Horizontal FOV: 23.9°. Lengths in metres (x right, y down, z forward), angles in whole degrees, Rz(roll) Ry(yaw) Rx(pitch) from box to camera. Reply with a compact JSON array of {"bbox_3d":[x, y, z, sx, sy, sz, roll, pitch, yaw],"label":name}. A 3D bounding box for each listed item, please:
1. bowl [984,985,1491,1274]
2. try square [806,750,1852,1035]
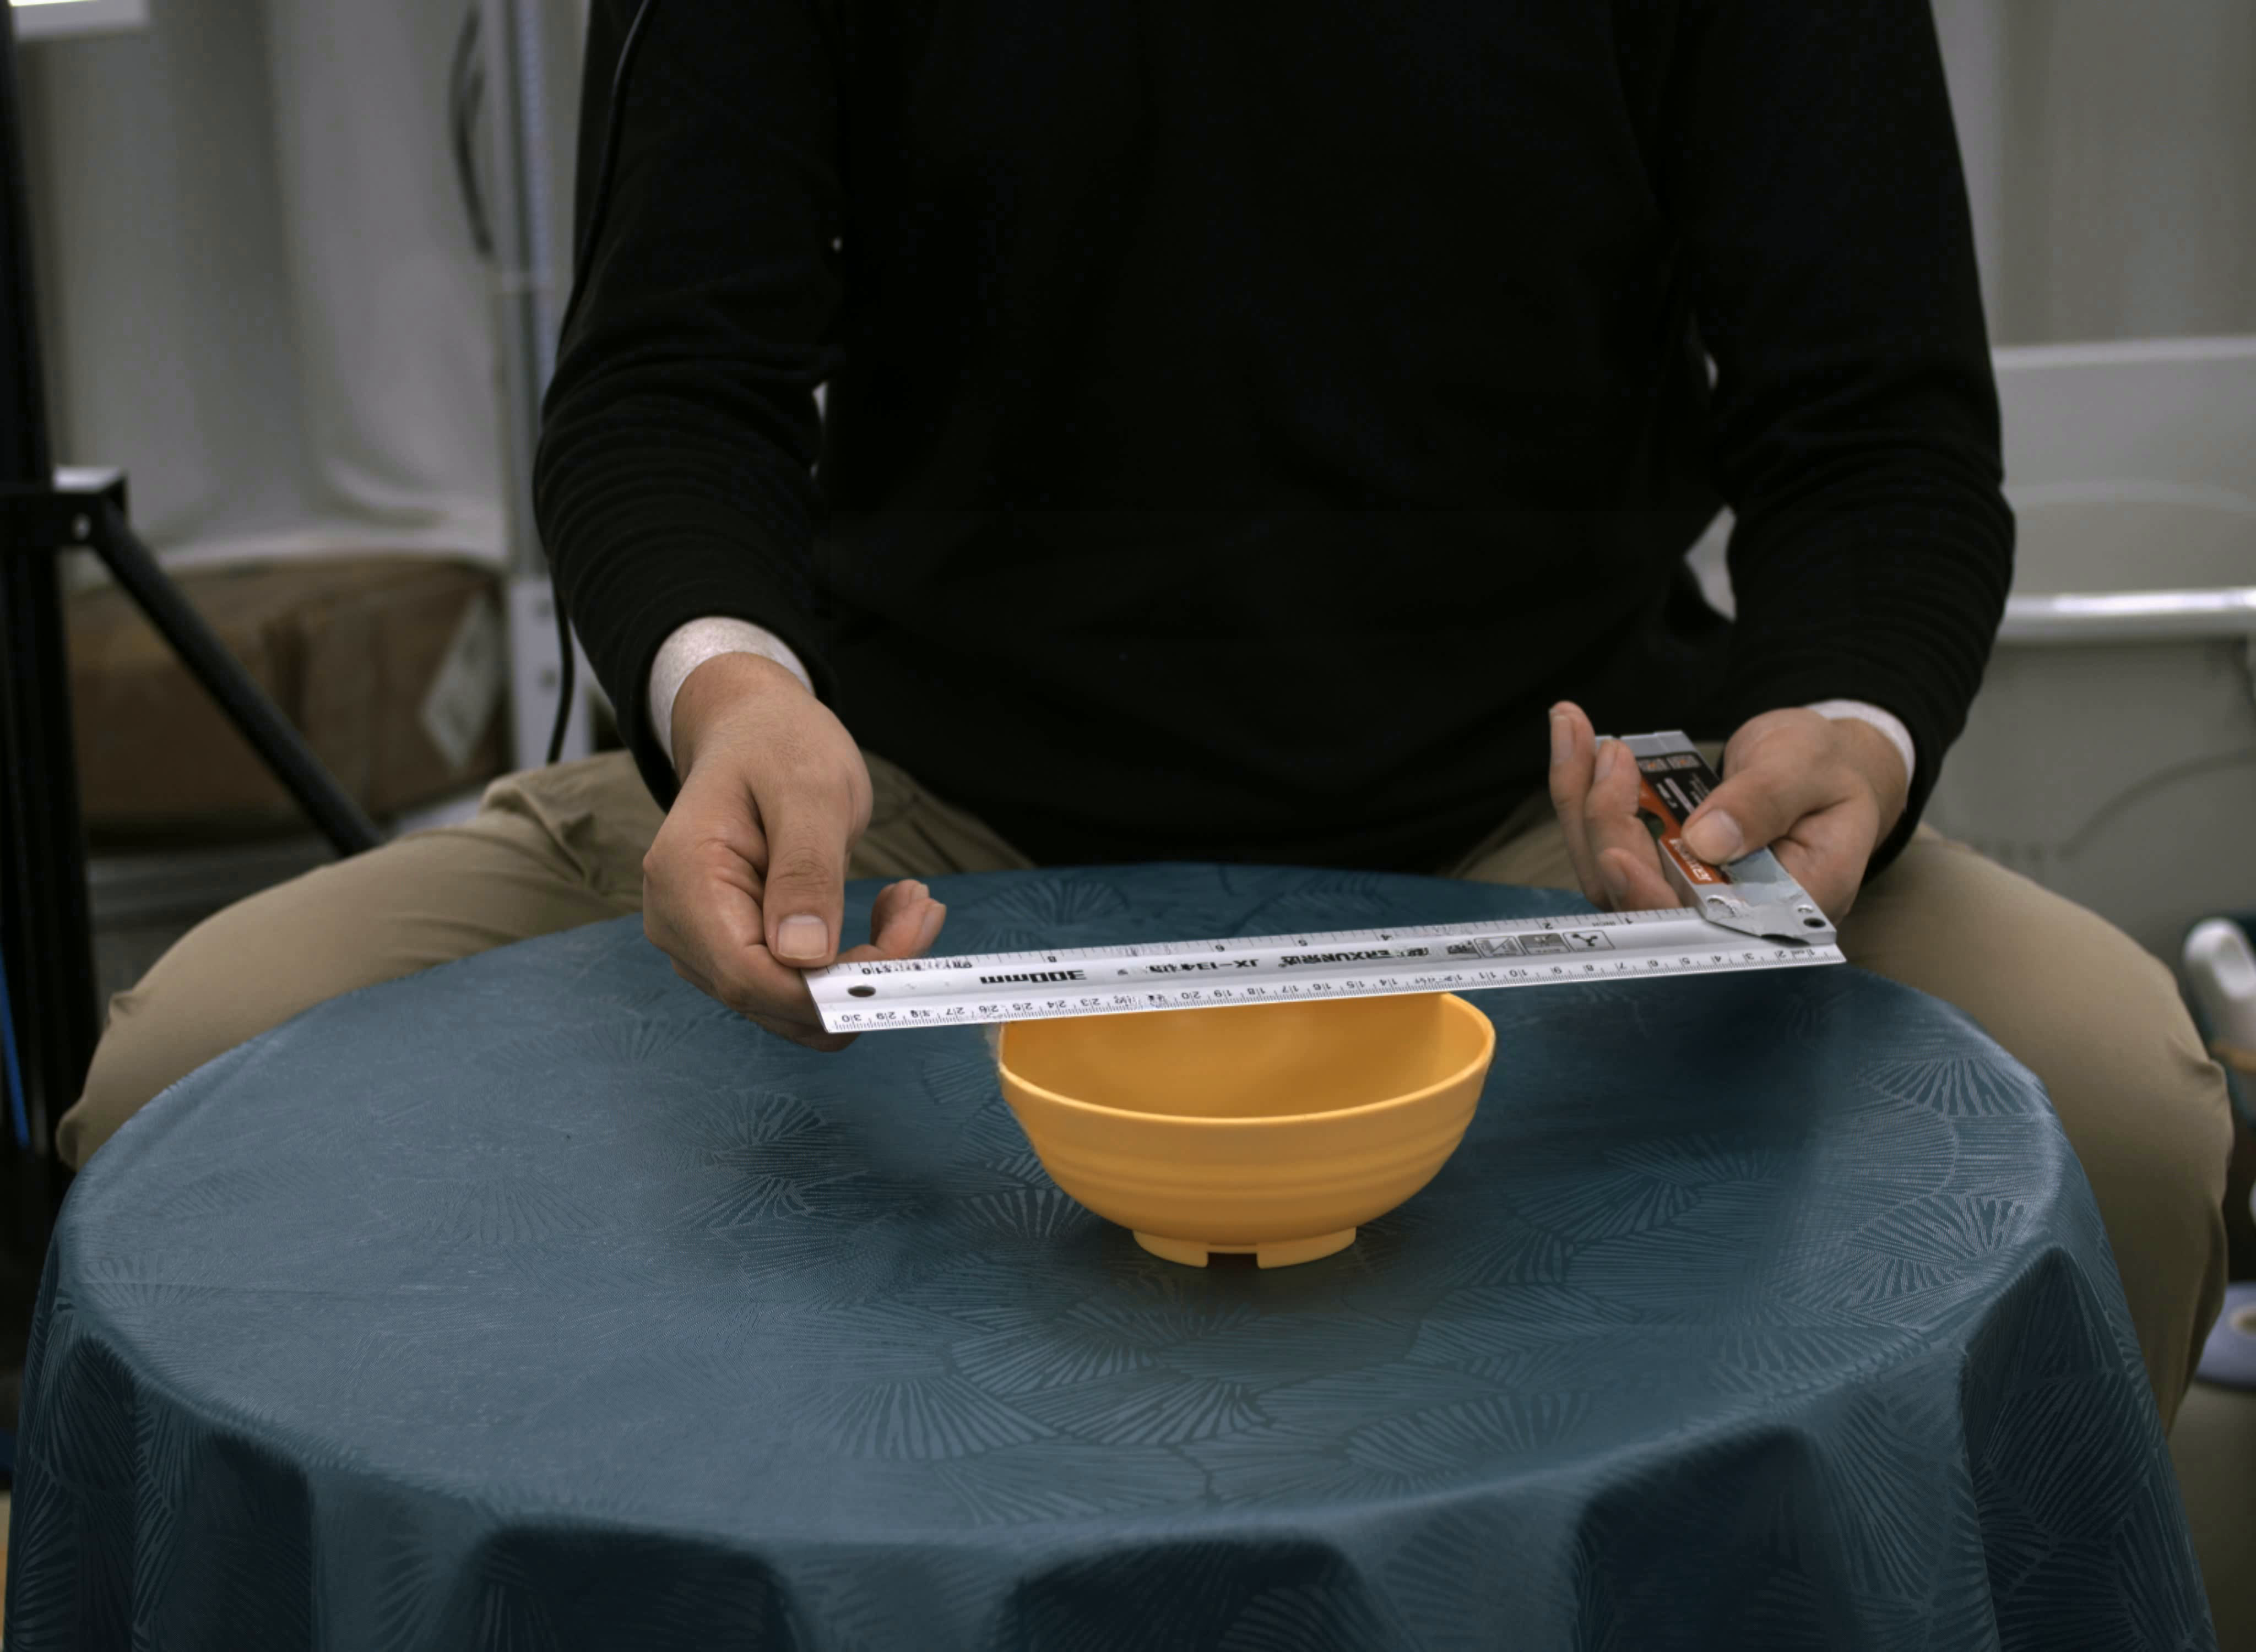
[{"bbox_3d":[0.031,0.089,1.514,0.144,0.060,0.146,0,15,-1],"label":"bowl"},{"bbox_3d":[0.049,0.020,1.599,0.308,0.016,0.154,-3,24,-12],"label":"try square"}]
